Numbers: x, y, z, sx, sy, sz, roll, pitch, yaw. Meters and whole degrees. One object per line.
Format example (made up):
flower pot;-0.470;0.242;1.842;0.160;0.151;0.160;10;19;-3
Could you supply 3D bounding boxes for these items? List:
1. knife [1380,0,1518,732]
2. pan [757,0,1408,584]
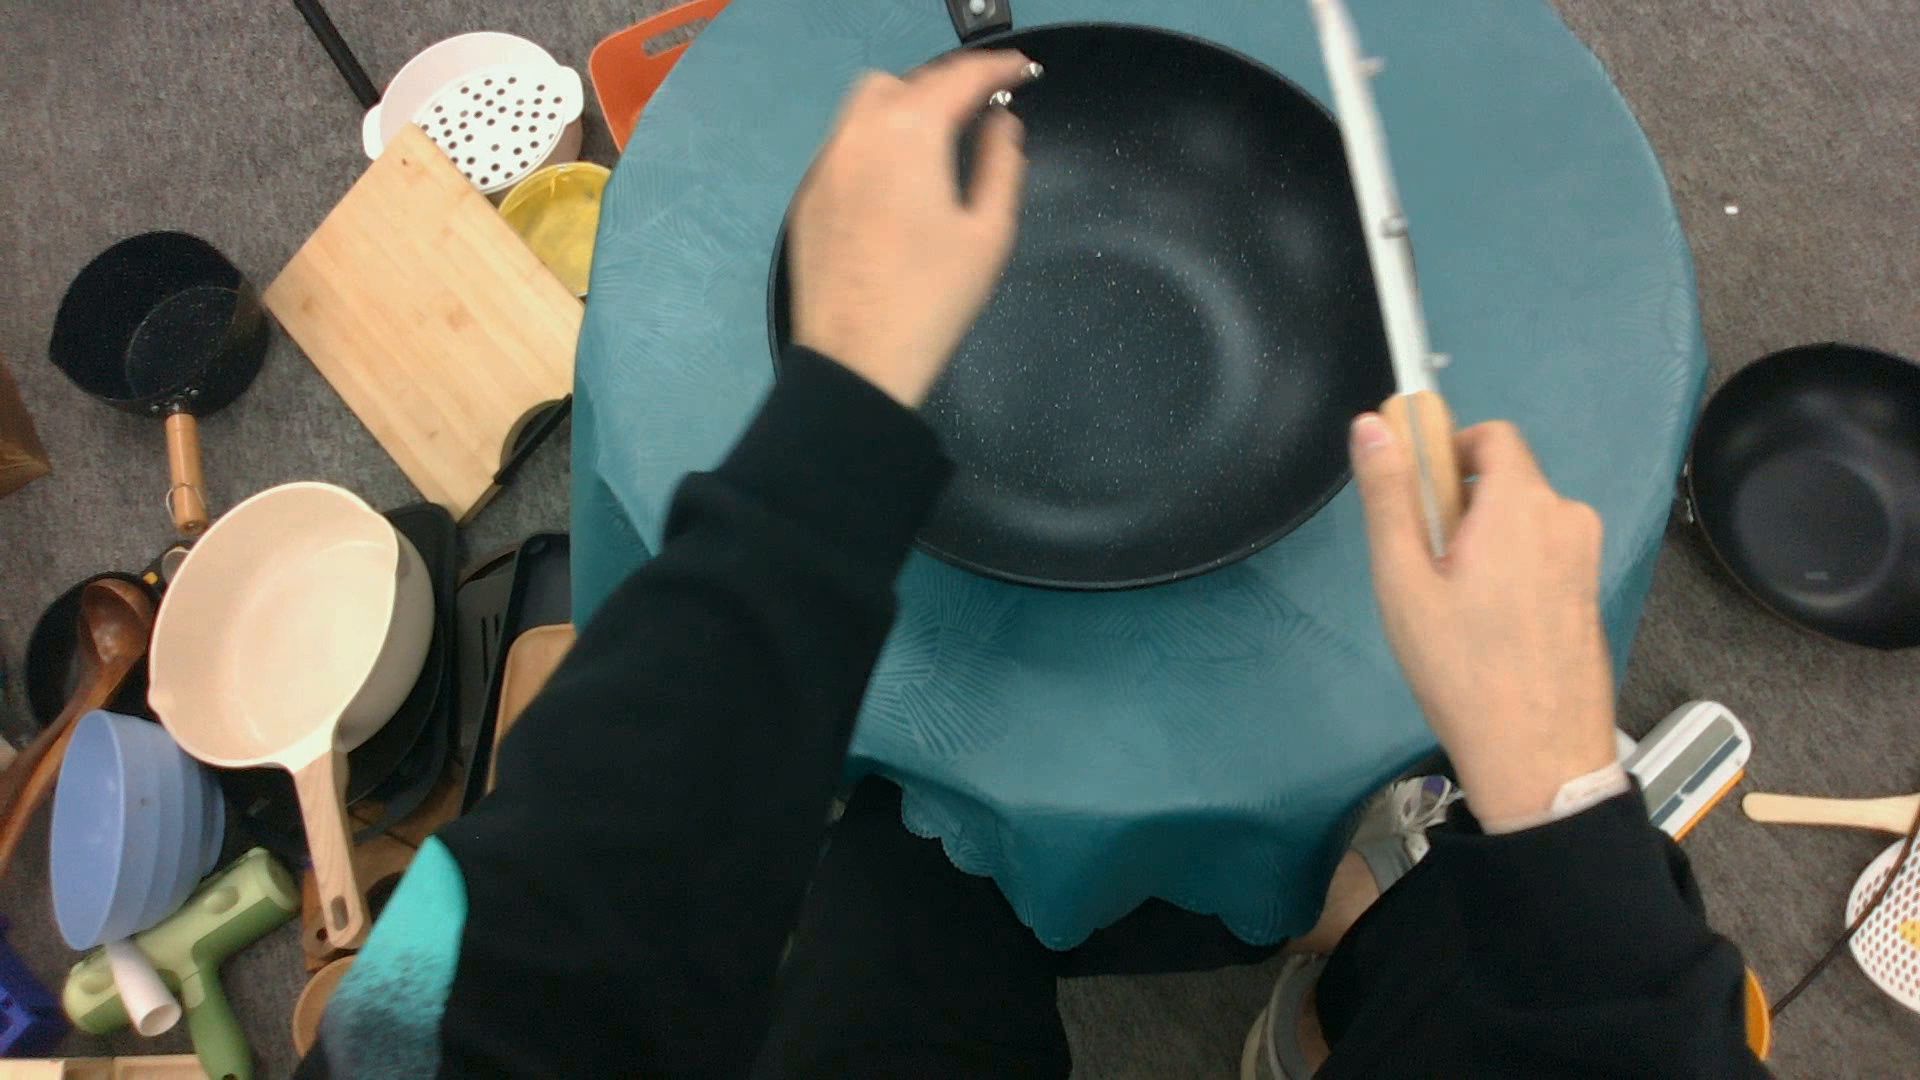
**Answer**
knife;0.185;-0.085;0.530;0.021;0.114;0.316;-8;79;29
pan;0.032;-0.193;0.709;0.310;0.111;0.478;-17;71;-5
